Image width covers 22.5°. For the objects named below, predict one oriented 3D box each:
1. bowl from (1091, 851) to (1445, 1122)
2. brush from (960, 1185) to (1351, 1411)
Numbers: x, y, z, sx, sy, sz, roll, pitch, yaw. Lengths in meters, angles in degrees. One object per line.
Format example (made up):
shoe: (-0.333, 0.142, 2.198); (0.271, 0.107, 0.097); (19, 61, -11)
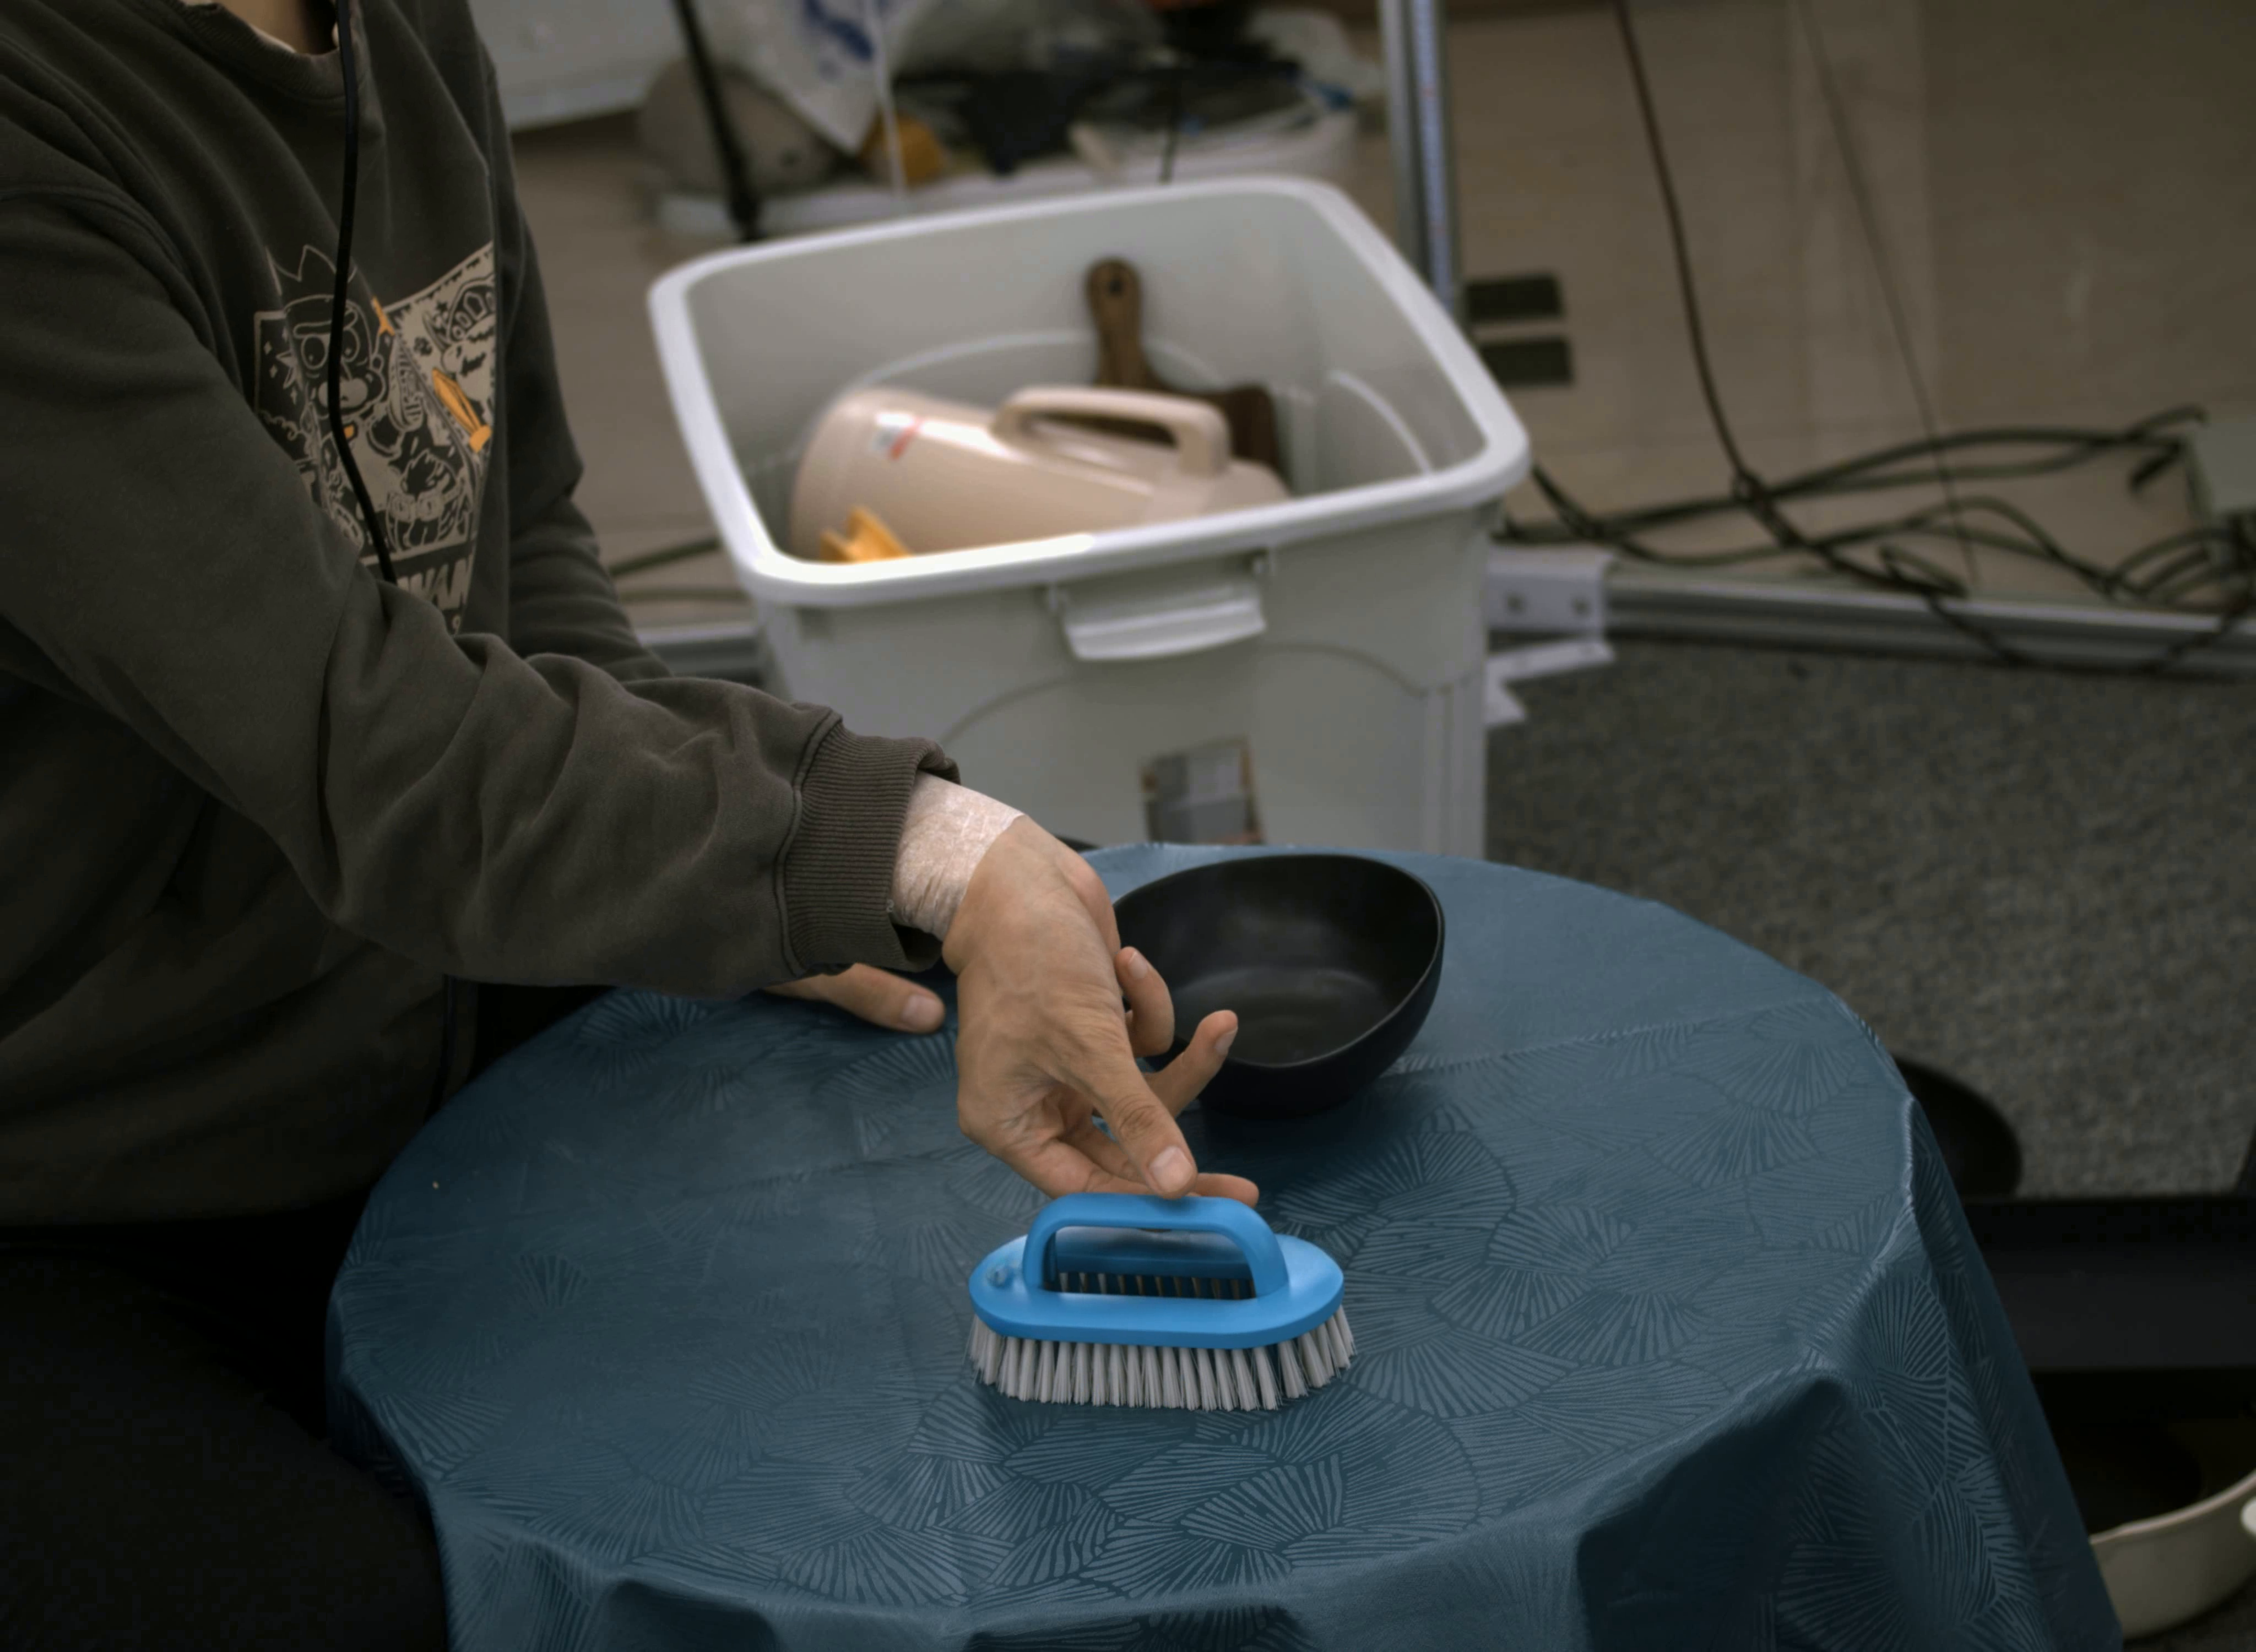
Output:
bowl: (0.058, 0.070, 2.204); (0.137, 0.068, 0.168); (-9, 27, -4)
brush: (0.010, 0.161, 2.018); (0.141, 0.065, 0.083); (3, 22, 17)
